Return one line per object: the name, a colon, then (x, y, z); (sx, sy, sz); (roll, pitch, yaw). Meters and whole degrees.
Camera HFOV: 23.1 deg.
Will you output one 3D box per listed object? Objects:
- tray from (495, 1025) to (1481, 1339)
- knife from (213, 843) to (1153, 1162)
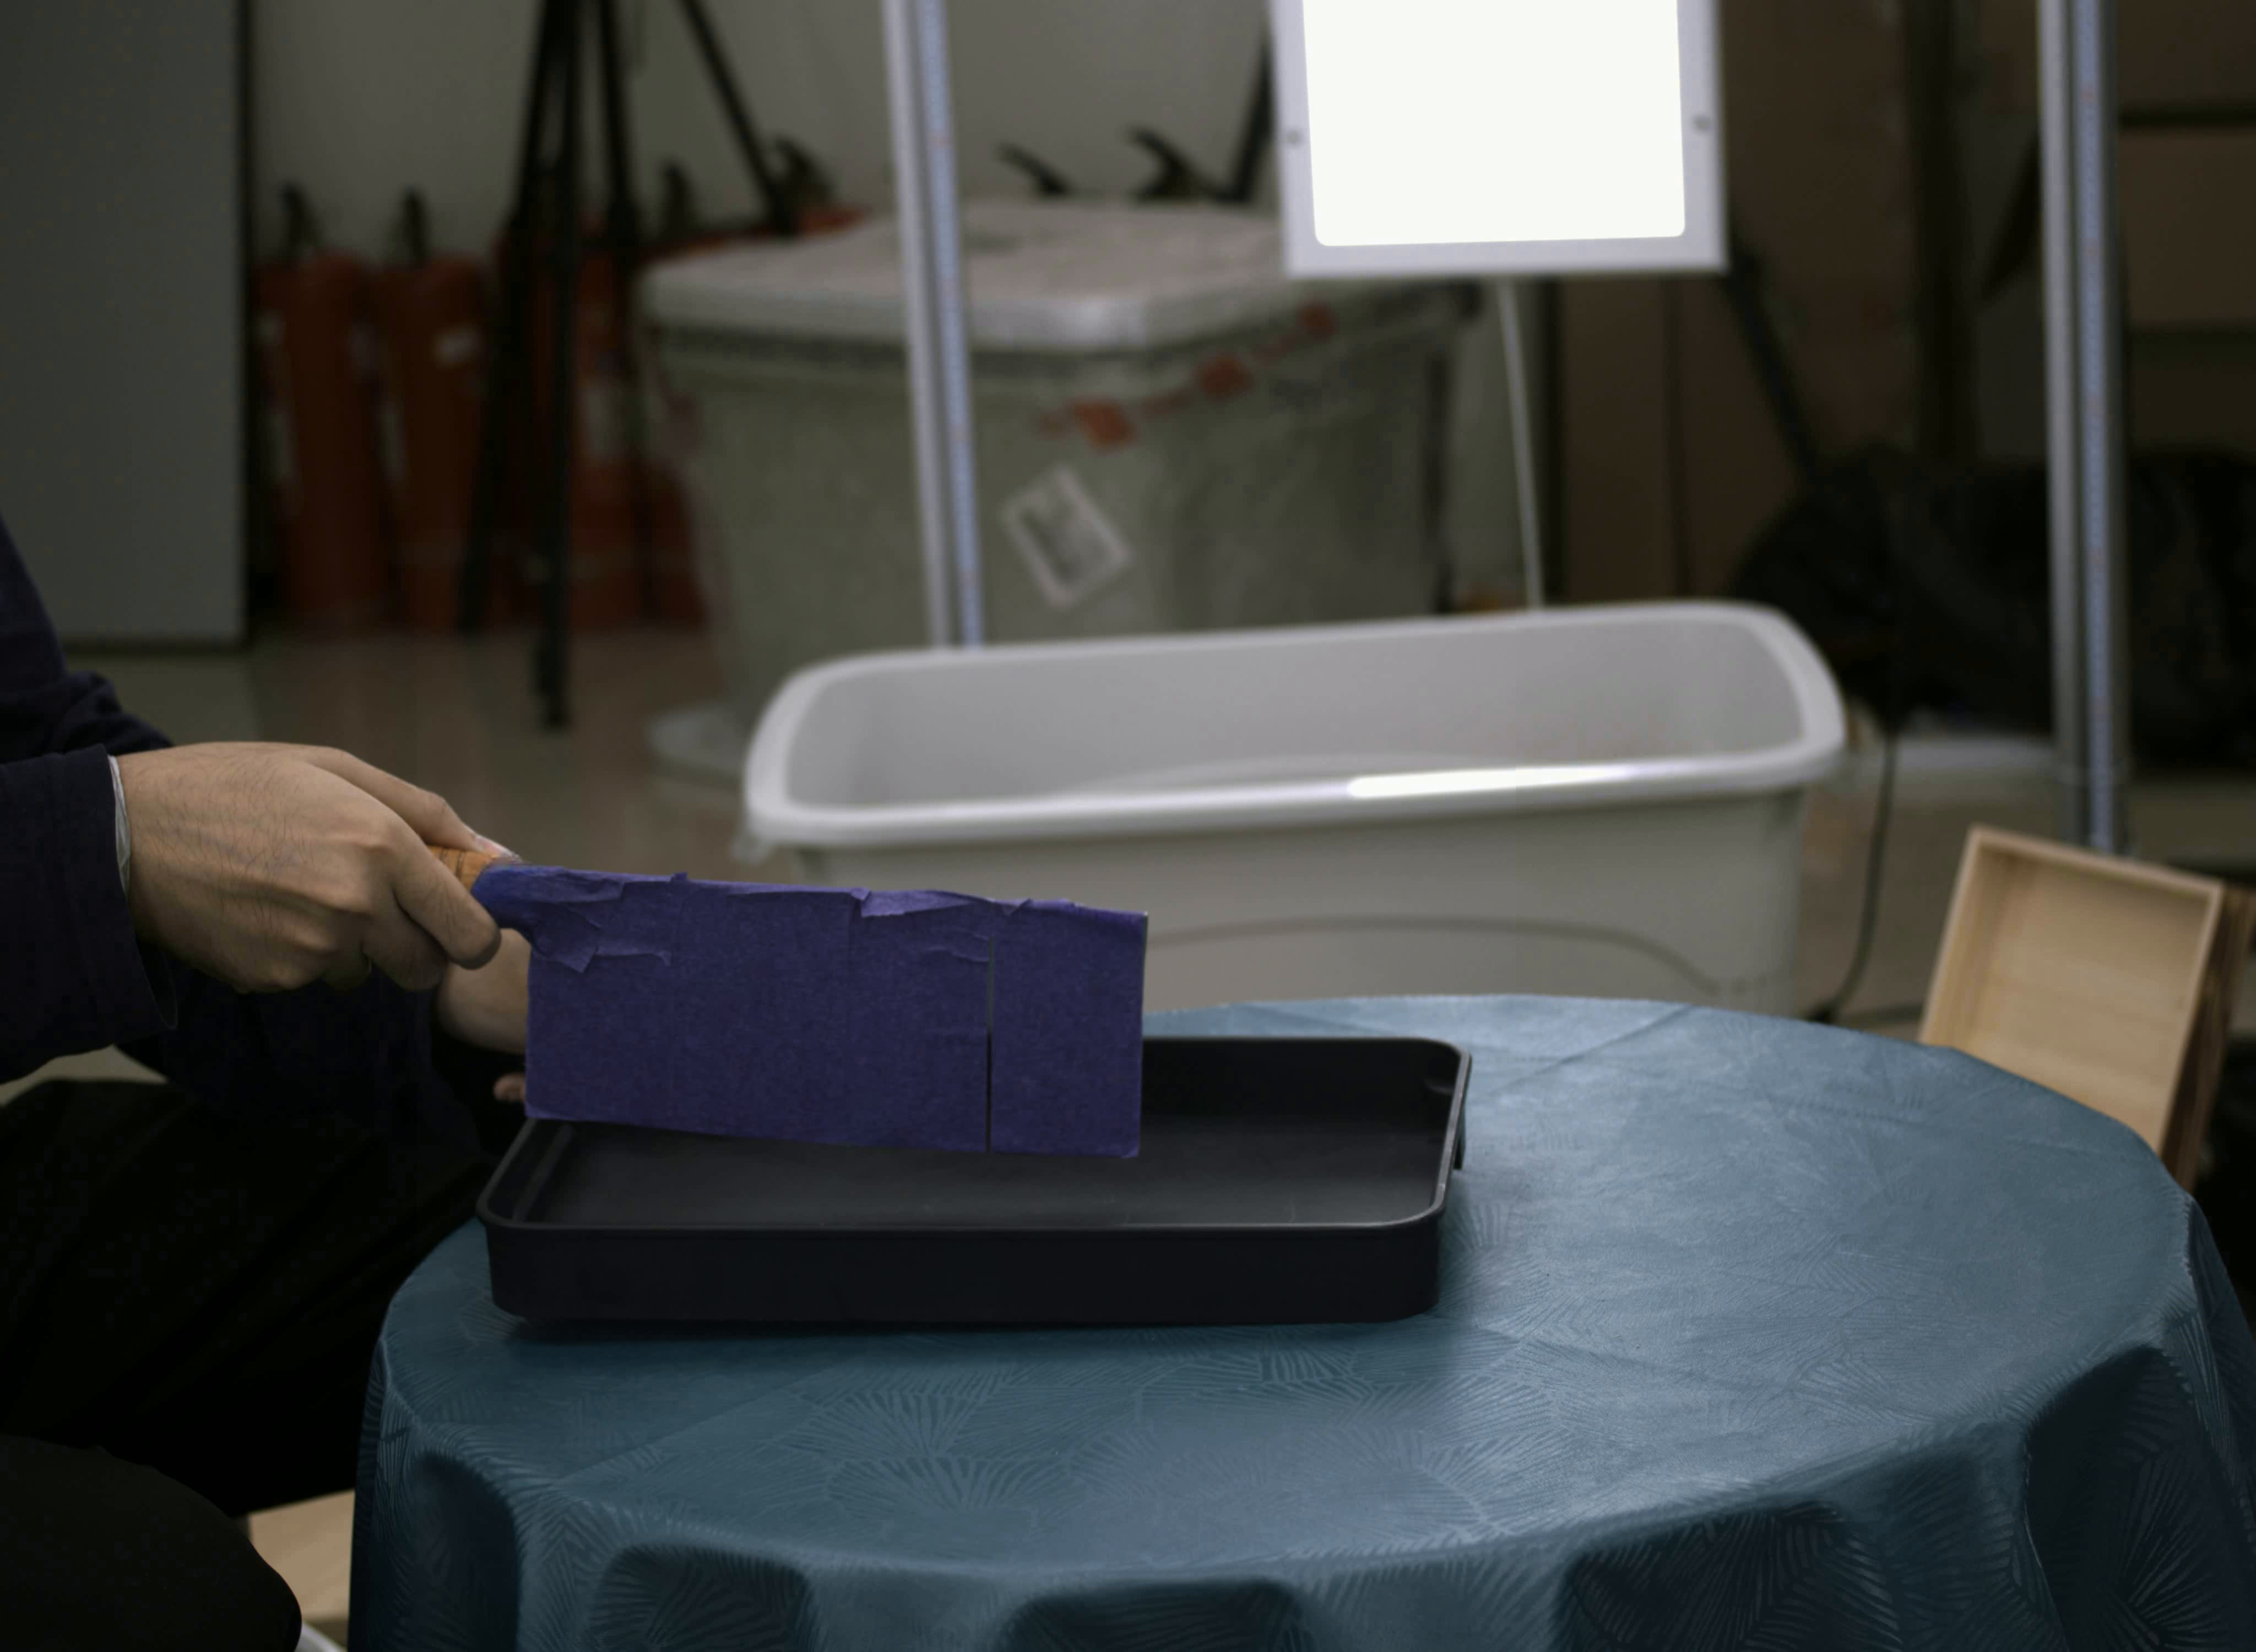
tray: (-0.041, 0.117, 1.847); (0.319, 0.037, 0.183); (-2, 18, 9)
knife: (-0.149, 0.059, 1.838); (0.316, 0.104, 0.032); (4, 18, 6)
